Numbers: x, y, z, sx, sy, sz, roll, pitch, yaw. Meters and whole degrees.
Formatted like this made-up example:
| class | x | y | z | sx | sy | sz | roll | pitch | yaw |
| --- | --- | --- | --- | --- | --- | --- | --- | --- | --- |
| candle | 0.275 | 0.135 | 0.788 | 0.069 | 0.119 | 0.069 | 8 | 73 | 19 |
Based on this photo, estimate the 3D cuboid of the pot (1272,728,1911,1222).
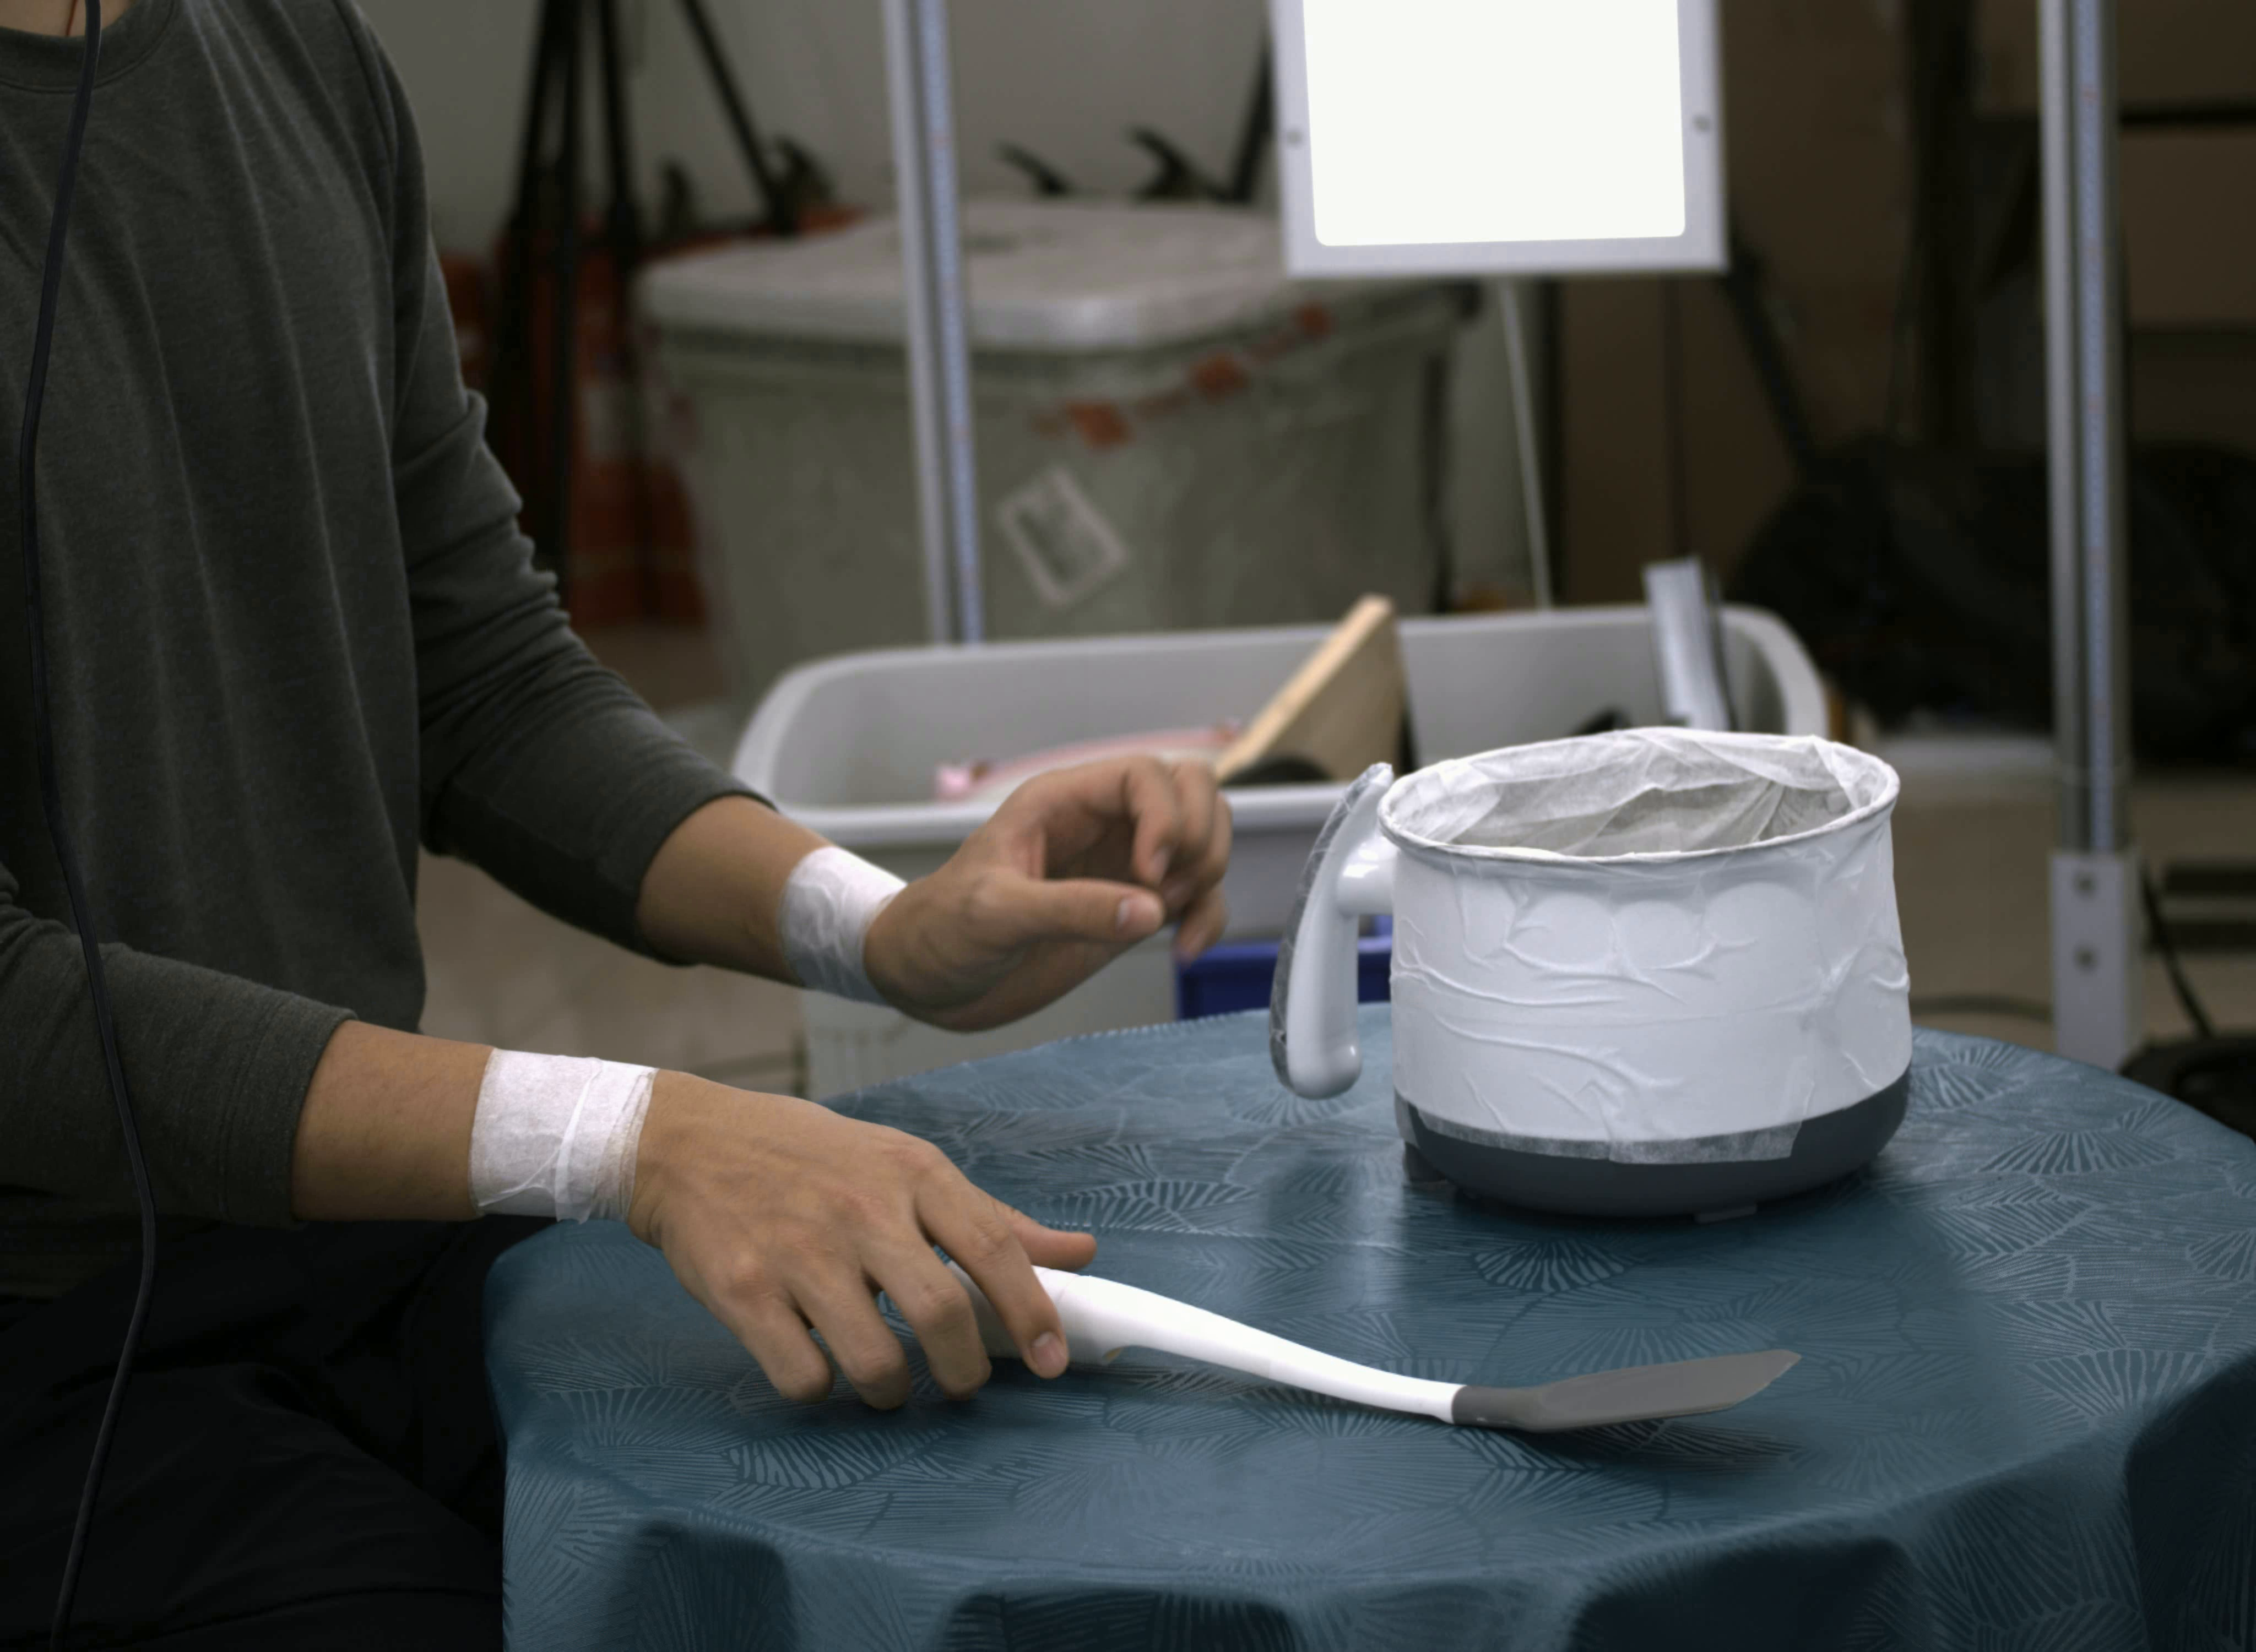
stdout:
| class | x | y | z | sx | sy | sz | roll | pitch | yaw |
| --- | --- | --- | --- | --- | --- | --- | --- | --- | --- |
| pot | 0.153 | 0.048 | 1.879 | 0.238 | 0.137 | 0.174 | 3 | 16 | 31 |

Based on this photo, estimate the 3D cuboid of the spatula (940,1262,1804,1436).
| class | x | y | z | sx | sy | sz | roll | pitch | yaw |
| --- | --- | --- | --- | --- | --- | --- | --- | --- | --- |
| spatula | 0.069 | 0.161 | 1.666 | 0.293 | 0.032 | 0.057 | 4 | 13 | 34 |
